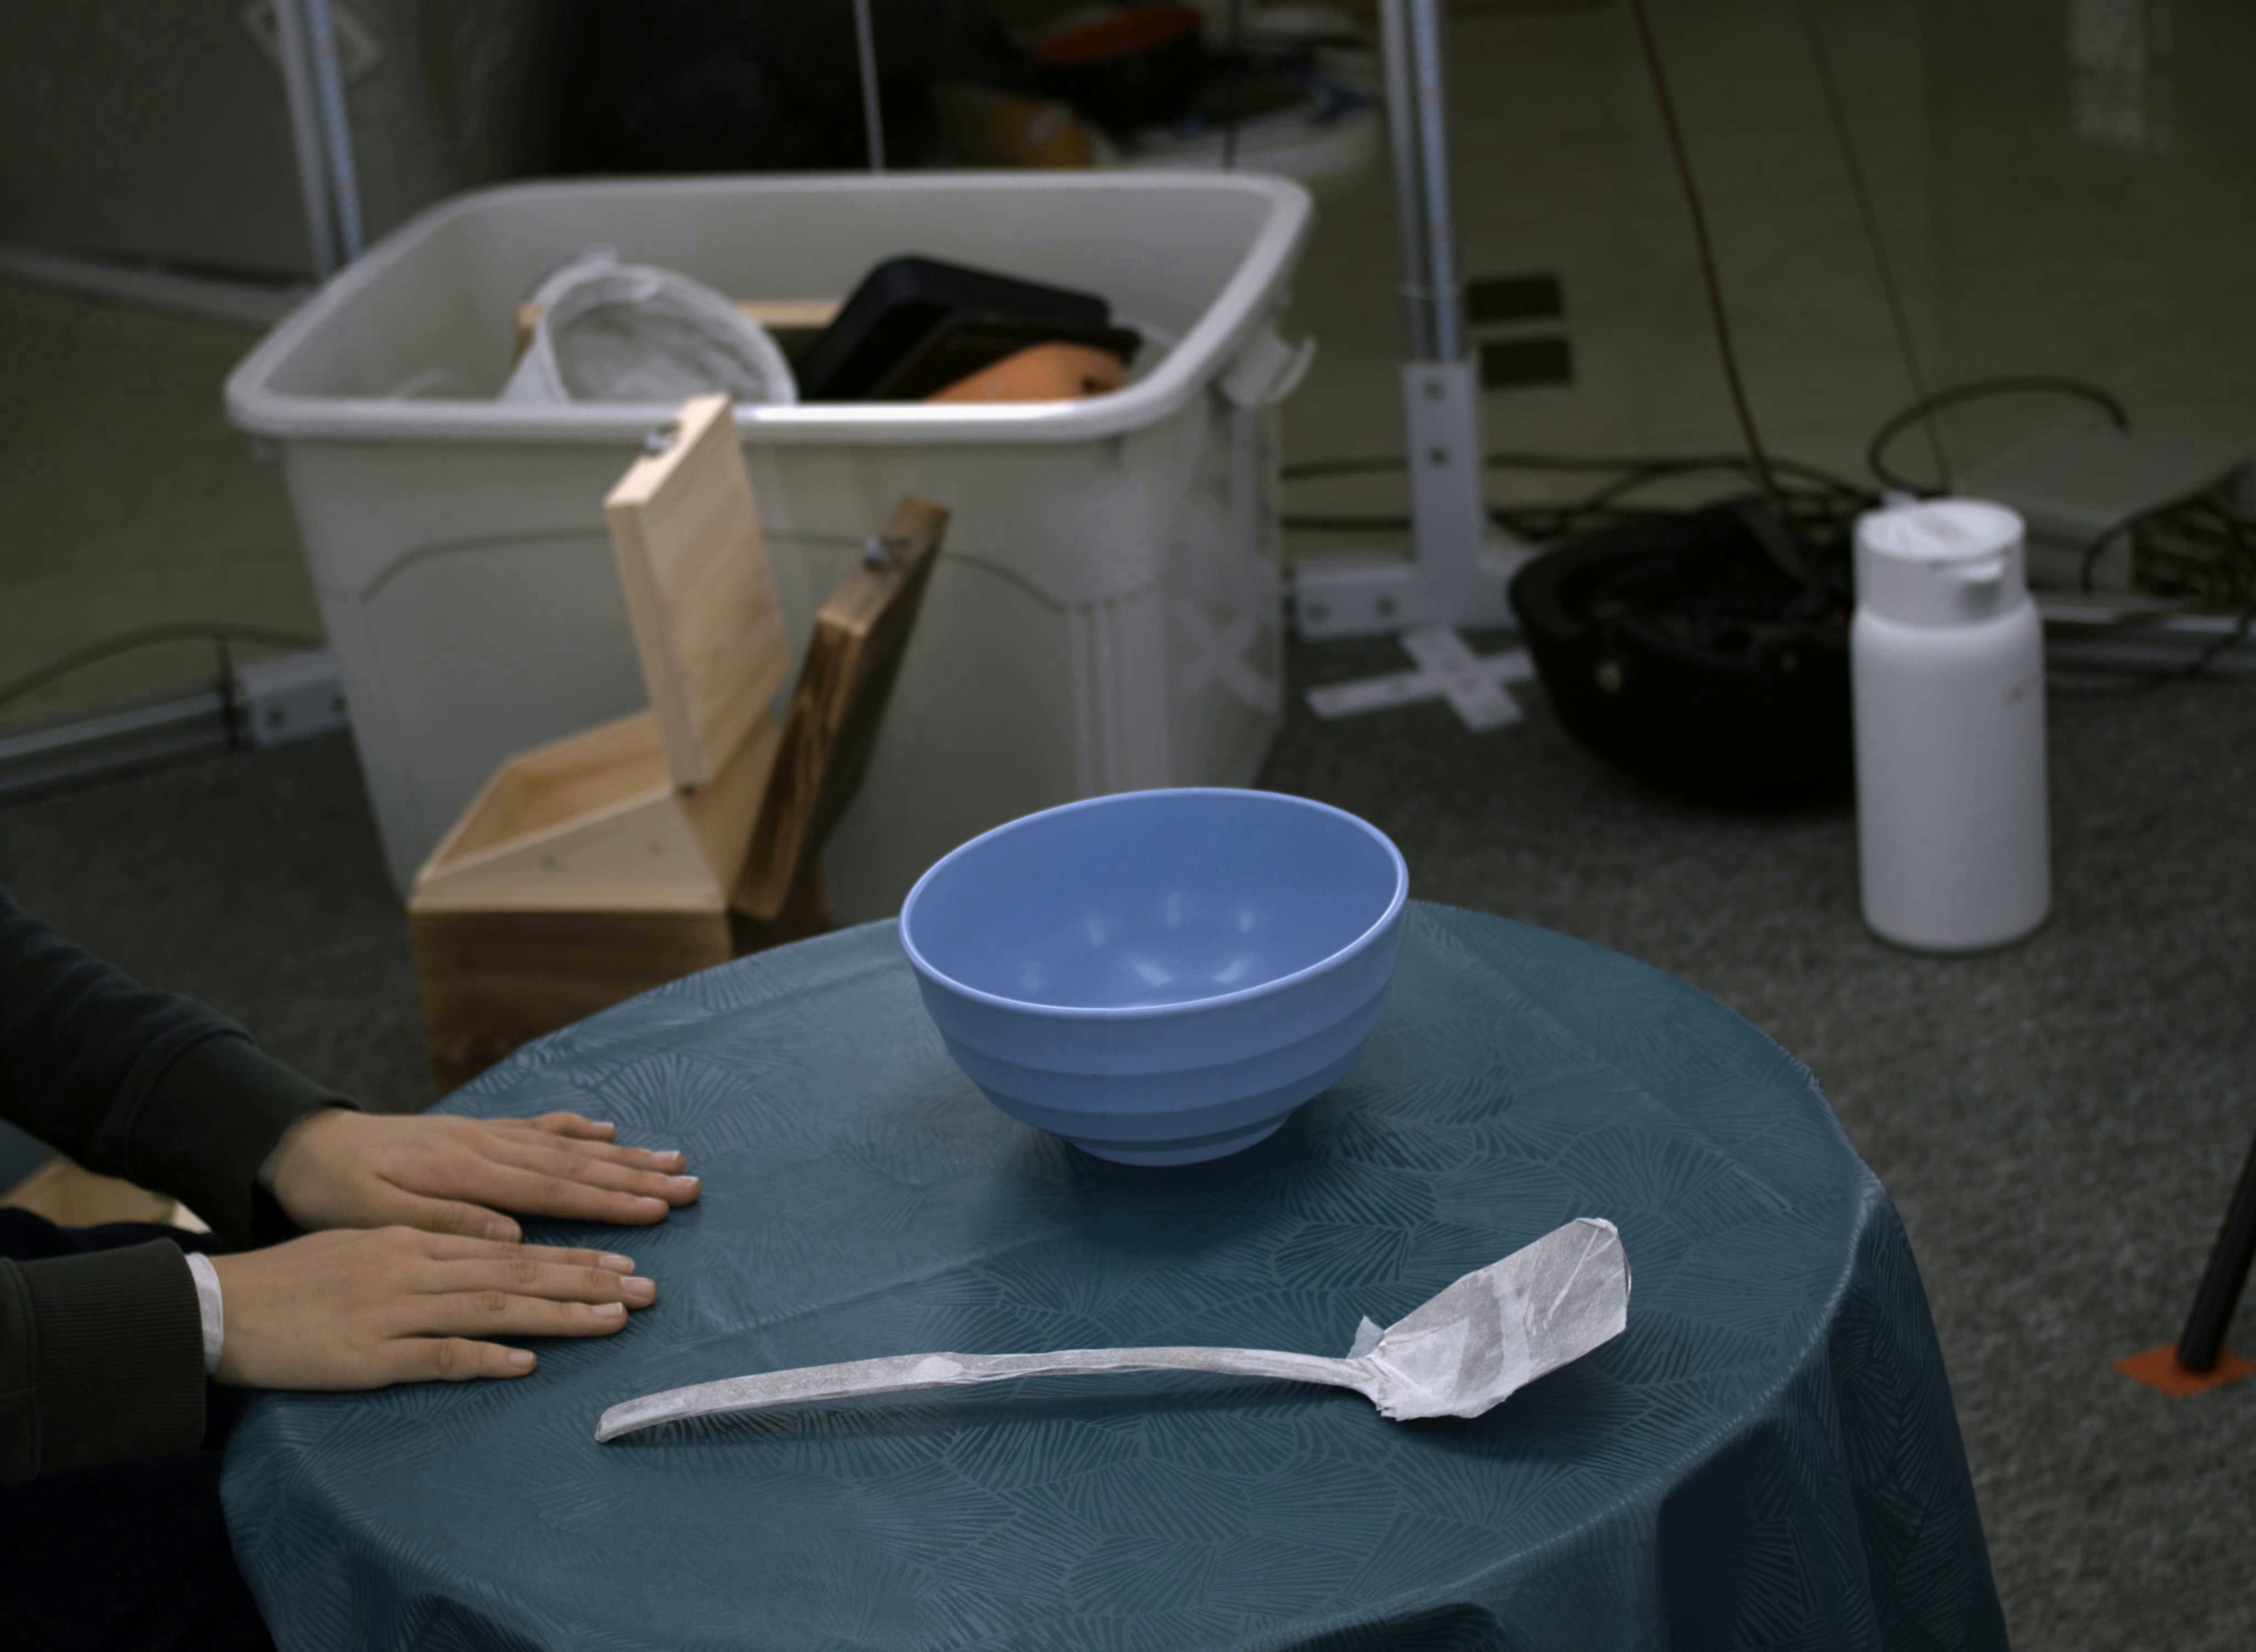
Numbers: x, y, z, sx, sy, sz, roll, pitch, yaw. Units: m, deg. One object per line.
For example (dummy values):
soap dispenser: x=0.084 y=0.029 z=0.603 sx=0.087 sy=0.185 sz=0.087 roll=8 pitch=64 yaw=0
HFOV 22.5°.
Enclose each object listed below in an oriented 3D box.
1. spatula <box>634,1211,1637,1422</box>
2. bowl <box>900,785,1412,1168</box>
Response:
spatula: x=-0.001 y=0.184 z=2.010 sx=0.364 sy=0.045 sz=0.097 roll=-3 pitch=27 yaw=6
bowl: x=0.014 y=0.069 z=2.186 sx=0.196 sy=0.097 sz=0.193 roll=-5 pitch=27 yaw=2
